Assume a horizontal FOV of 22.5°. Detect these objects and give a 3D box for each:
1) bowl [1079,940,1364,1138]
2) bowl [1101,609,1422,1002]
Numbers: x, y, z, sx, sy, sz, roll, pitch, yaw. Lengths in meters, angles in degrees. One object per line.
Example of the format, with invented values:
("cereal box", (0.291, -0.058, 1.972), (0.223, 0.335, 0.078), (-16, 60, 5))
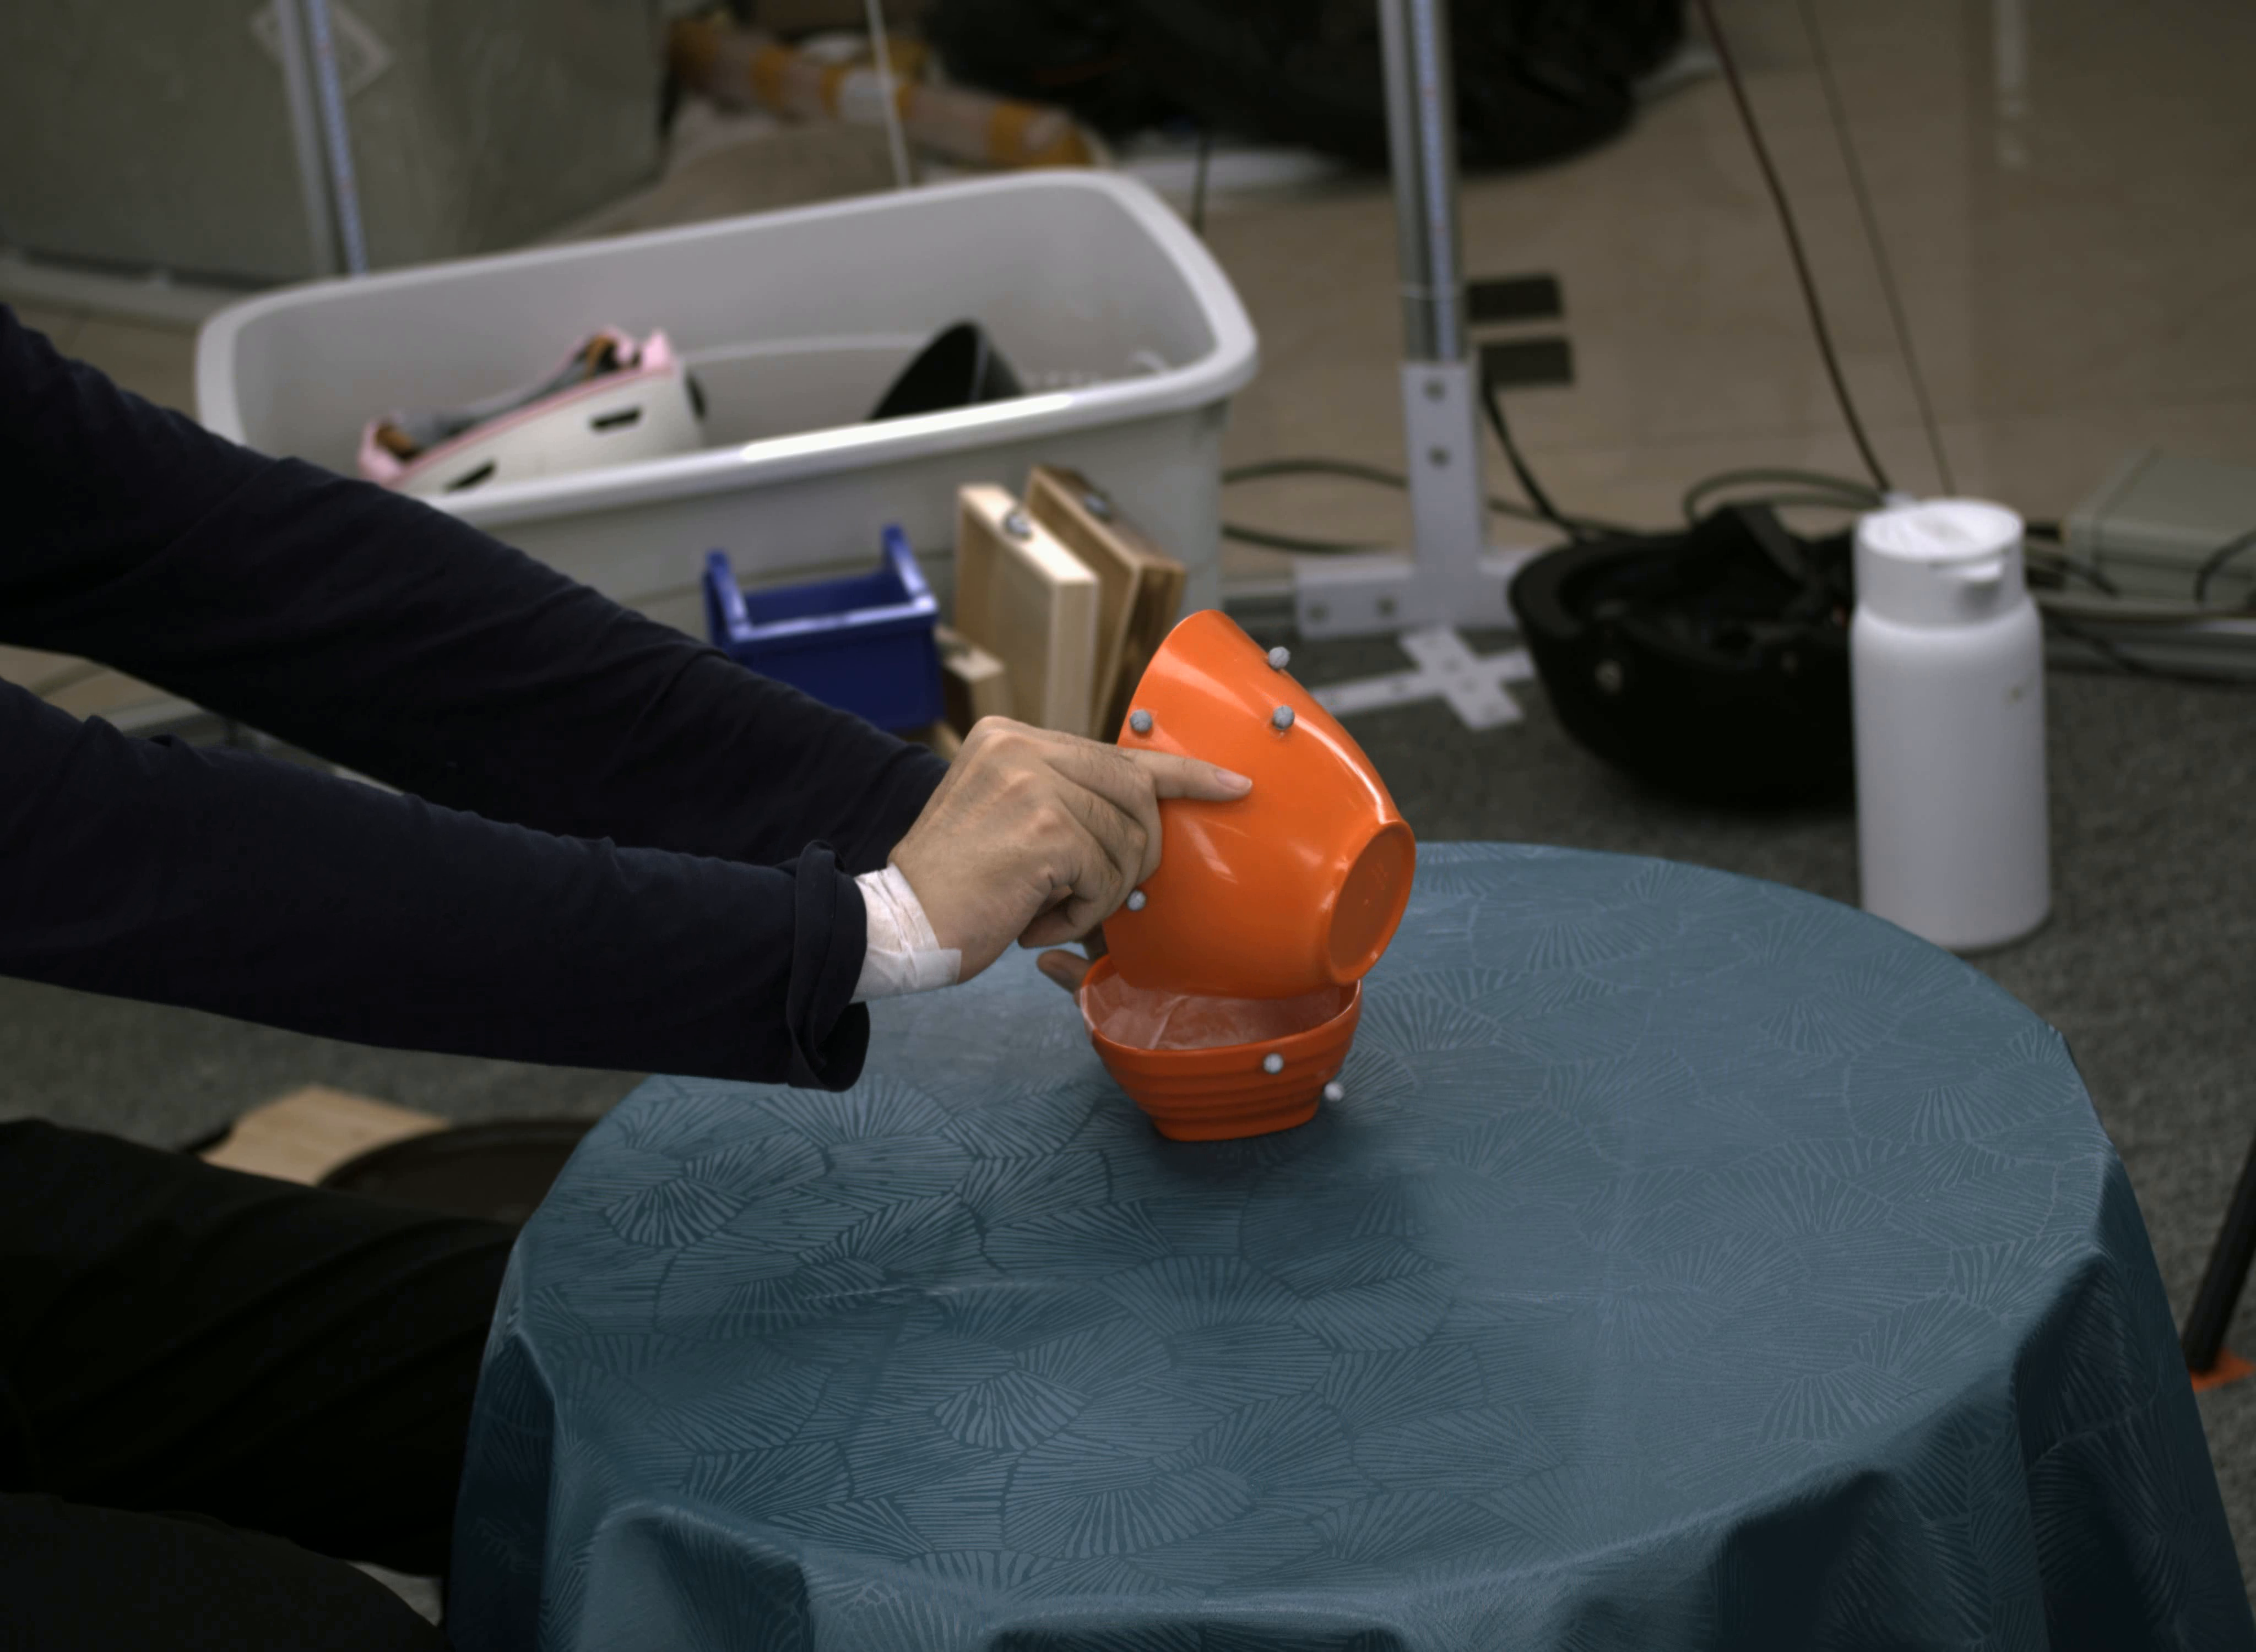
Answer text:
("bowl", (0.038, 0.082, 2.200), (0.119, 0.052, 0.117), (-4, 27, 2))
("bowl", (0.056, 0.002, 2.157), (0.104, 0.151, 0.146), (22, 35, 25))
